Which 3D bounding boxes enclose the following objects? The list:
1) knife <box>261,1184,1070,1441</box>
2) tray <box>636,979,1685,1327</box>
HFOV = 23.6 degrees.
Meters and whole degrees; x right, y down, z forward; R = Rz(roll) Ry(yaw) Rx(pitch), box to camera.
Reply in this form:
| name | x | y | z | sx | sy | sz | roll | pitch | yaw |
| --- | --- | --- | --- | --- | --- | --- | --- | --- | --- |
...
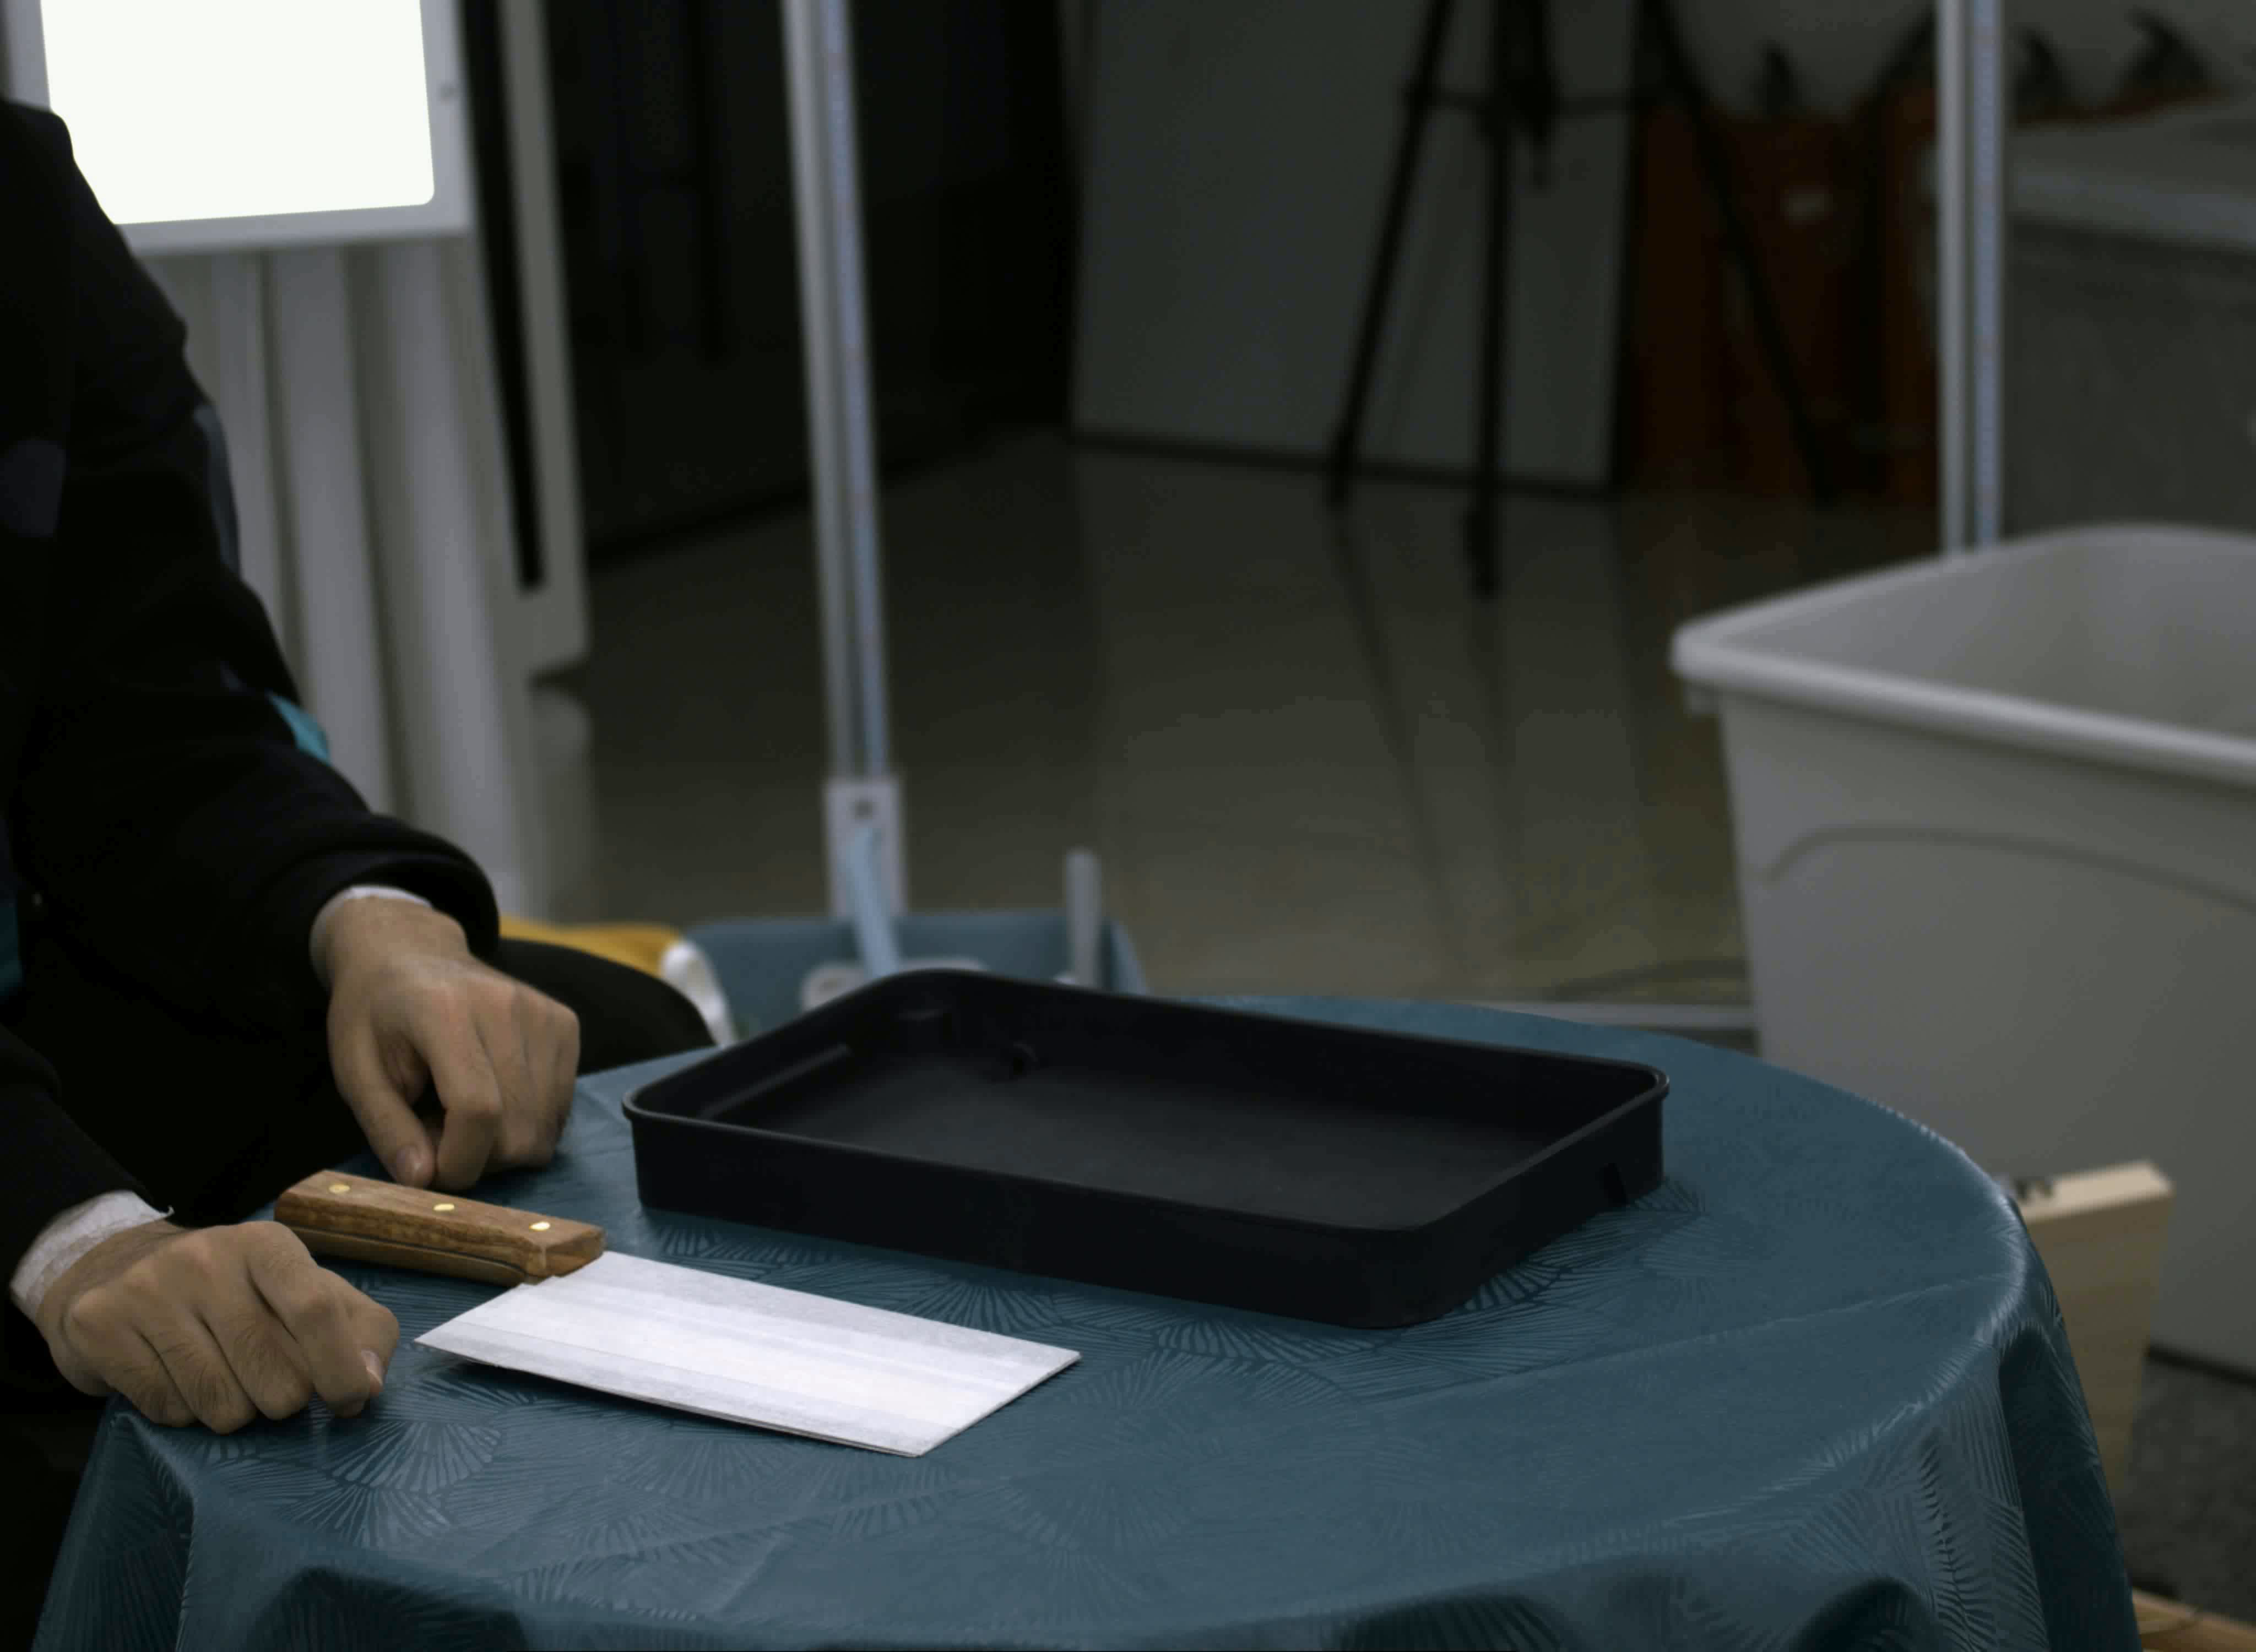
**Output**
| name | x | y | z | sx | sy | sz | roll | pitch | yaw |
| --- | --- | --- | --- | --- | --- | --- | --- | --- | --- |
| knife | -0.162 | 0.152 | 1.664 | 0.307 | 0.021 | 0.091 | 8 | 20 | 34 |
| tray | 0.010 | 0.103 | 1.765 | 0.319 | 0.037 | 0.181 | 5 | 17 | 34 |
